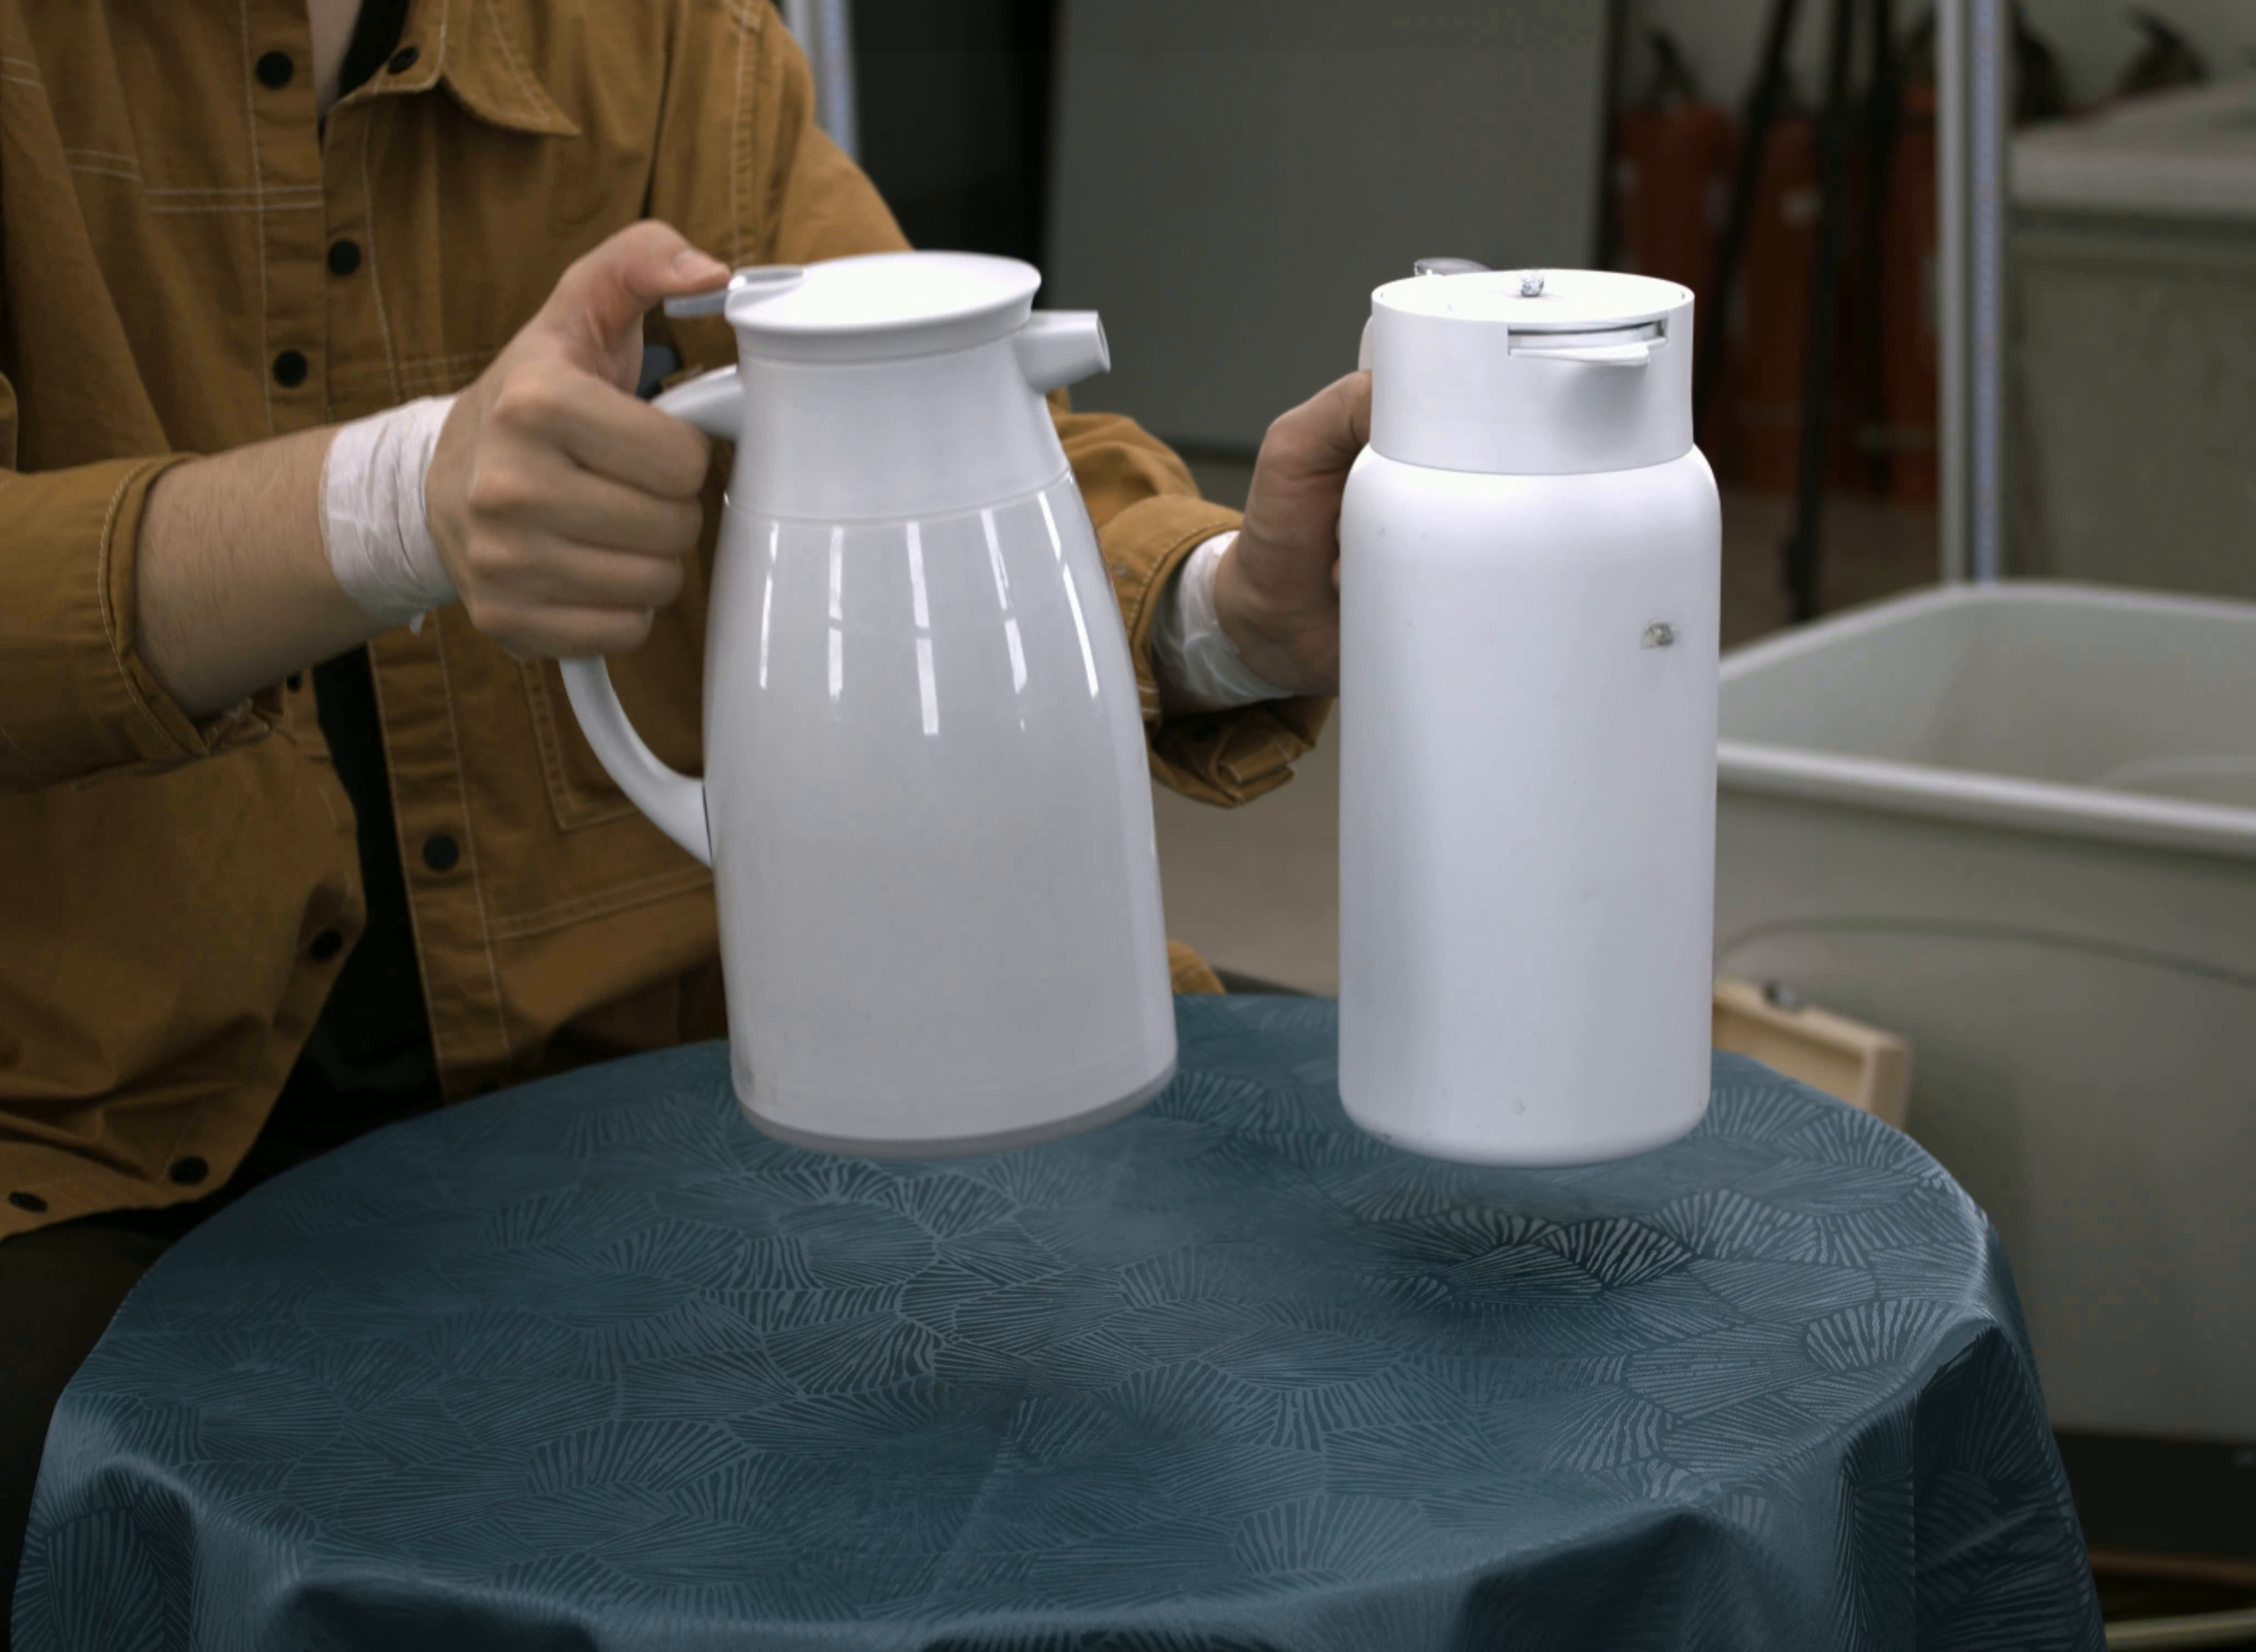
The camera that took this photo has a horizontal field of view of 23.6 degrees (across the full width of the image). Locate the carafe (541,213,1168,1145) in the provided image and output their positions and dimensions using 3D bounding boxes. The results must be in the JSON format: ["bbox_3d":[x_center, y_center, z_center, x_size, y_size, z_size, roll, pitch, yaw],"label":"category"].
[{"bbox_3d":[-0.082,-0.046,1.550,0.166,0.251,0.132,-5,16,3],"label":"carafe"}]

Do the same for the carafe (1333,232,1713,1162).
[{"bbox_3d":[0.113,-0.044,1.668,0.121,0.272,0.174,-8,15,-19],"label":"carafe"}]
